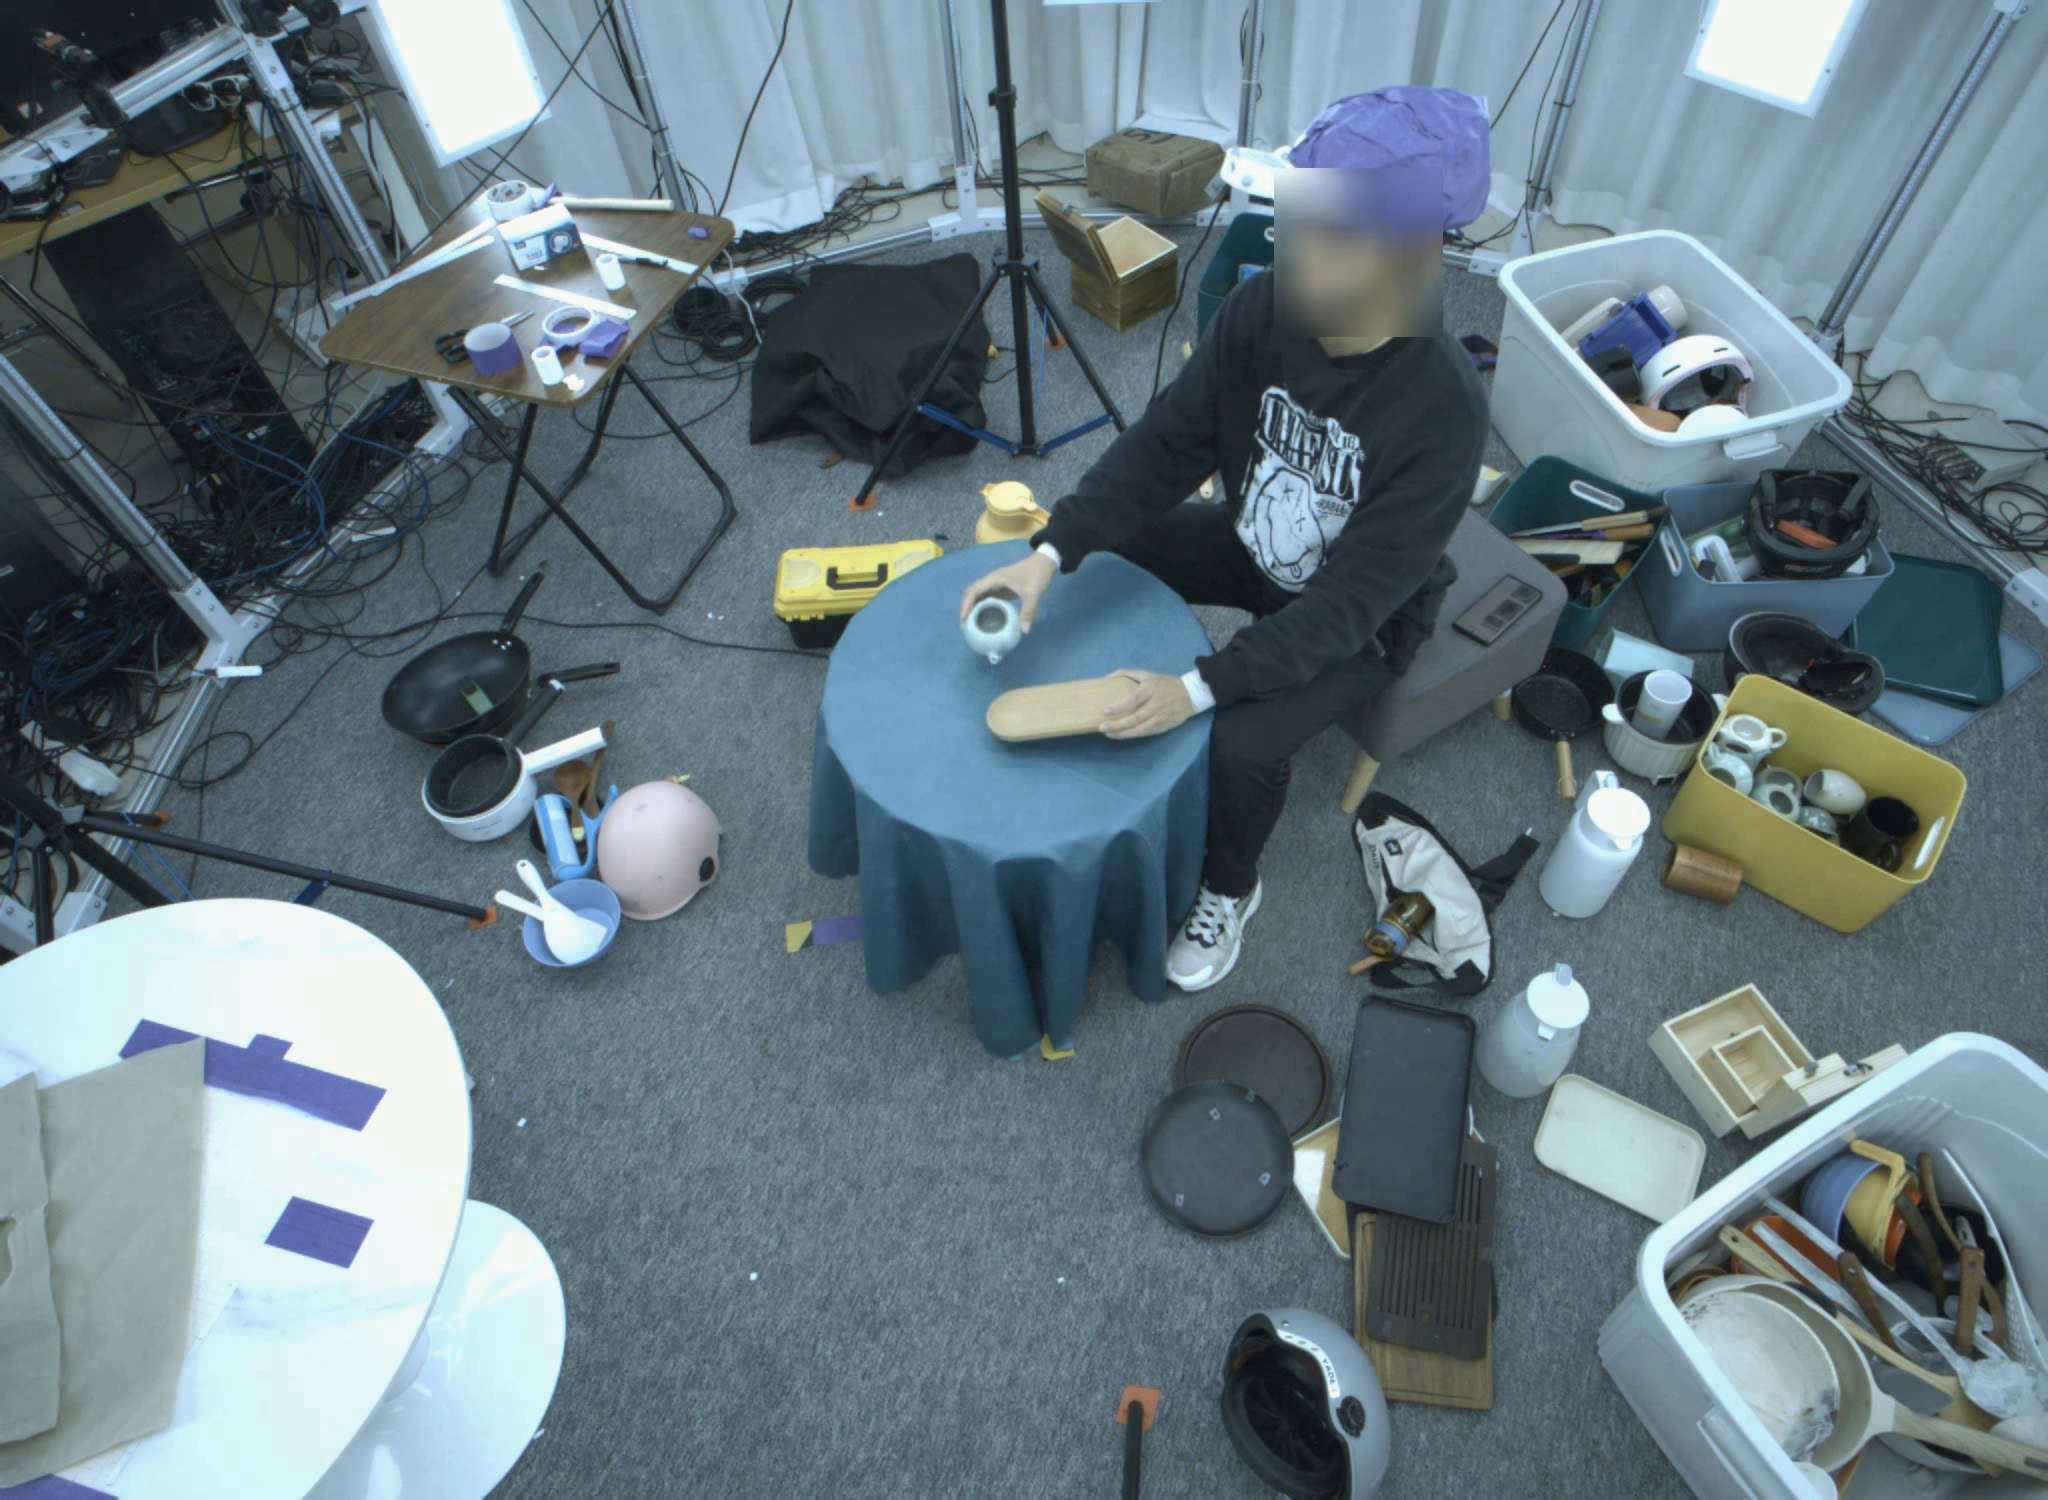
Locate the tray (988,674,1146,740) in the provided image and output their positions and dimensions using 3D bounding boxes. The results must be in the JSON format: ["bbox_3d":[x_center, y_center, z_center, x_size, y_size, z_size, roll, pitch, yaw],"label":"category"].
[{"bbox_3d":[0.062,-0.061,1.775,0.230,0.020,0.100,-6,47,7],"label":"tray"}]

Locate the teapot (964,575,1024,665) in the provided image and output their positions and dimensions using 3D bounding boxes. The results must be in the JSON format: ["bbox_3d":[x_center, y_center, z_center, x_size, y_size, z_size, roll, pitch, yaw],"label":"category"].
[{"bbox_3d":[-0.045,-0.182,1.816,0.088,0.075,0.143,-4,75,2],"label":"teapot"}]
